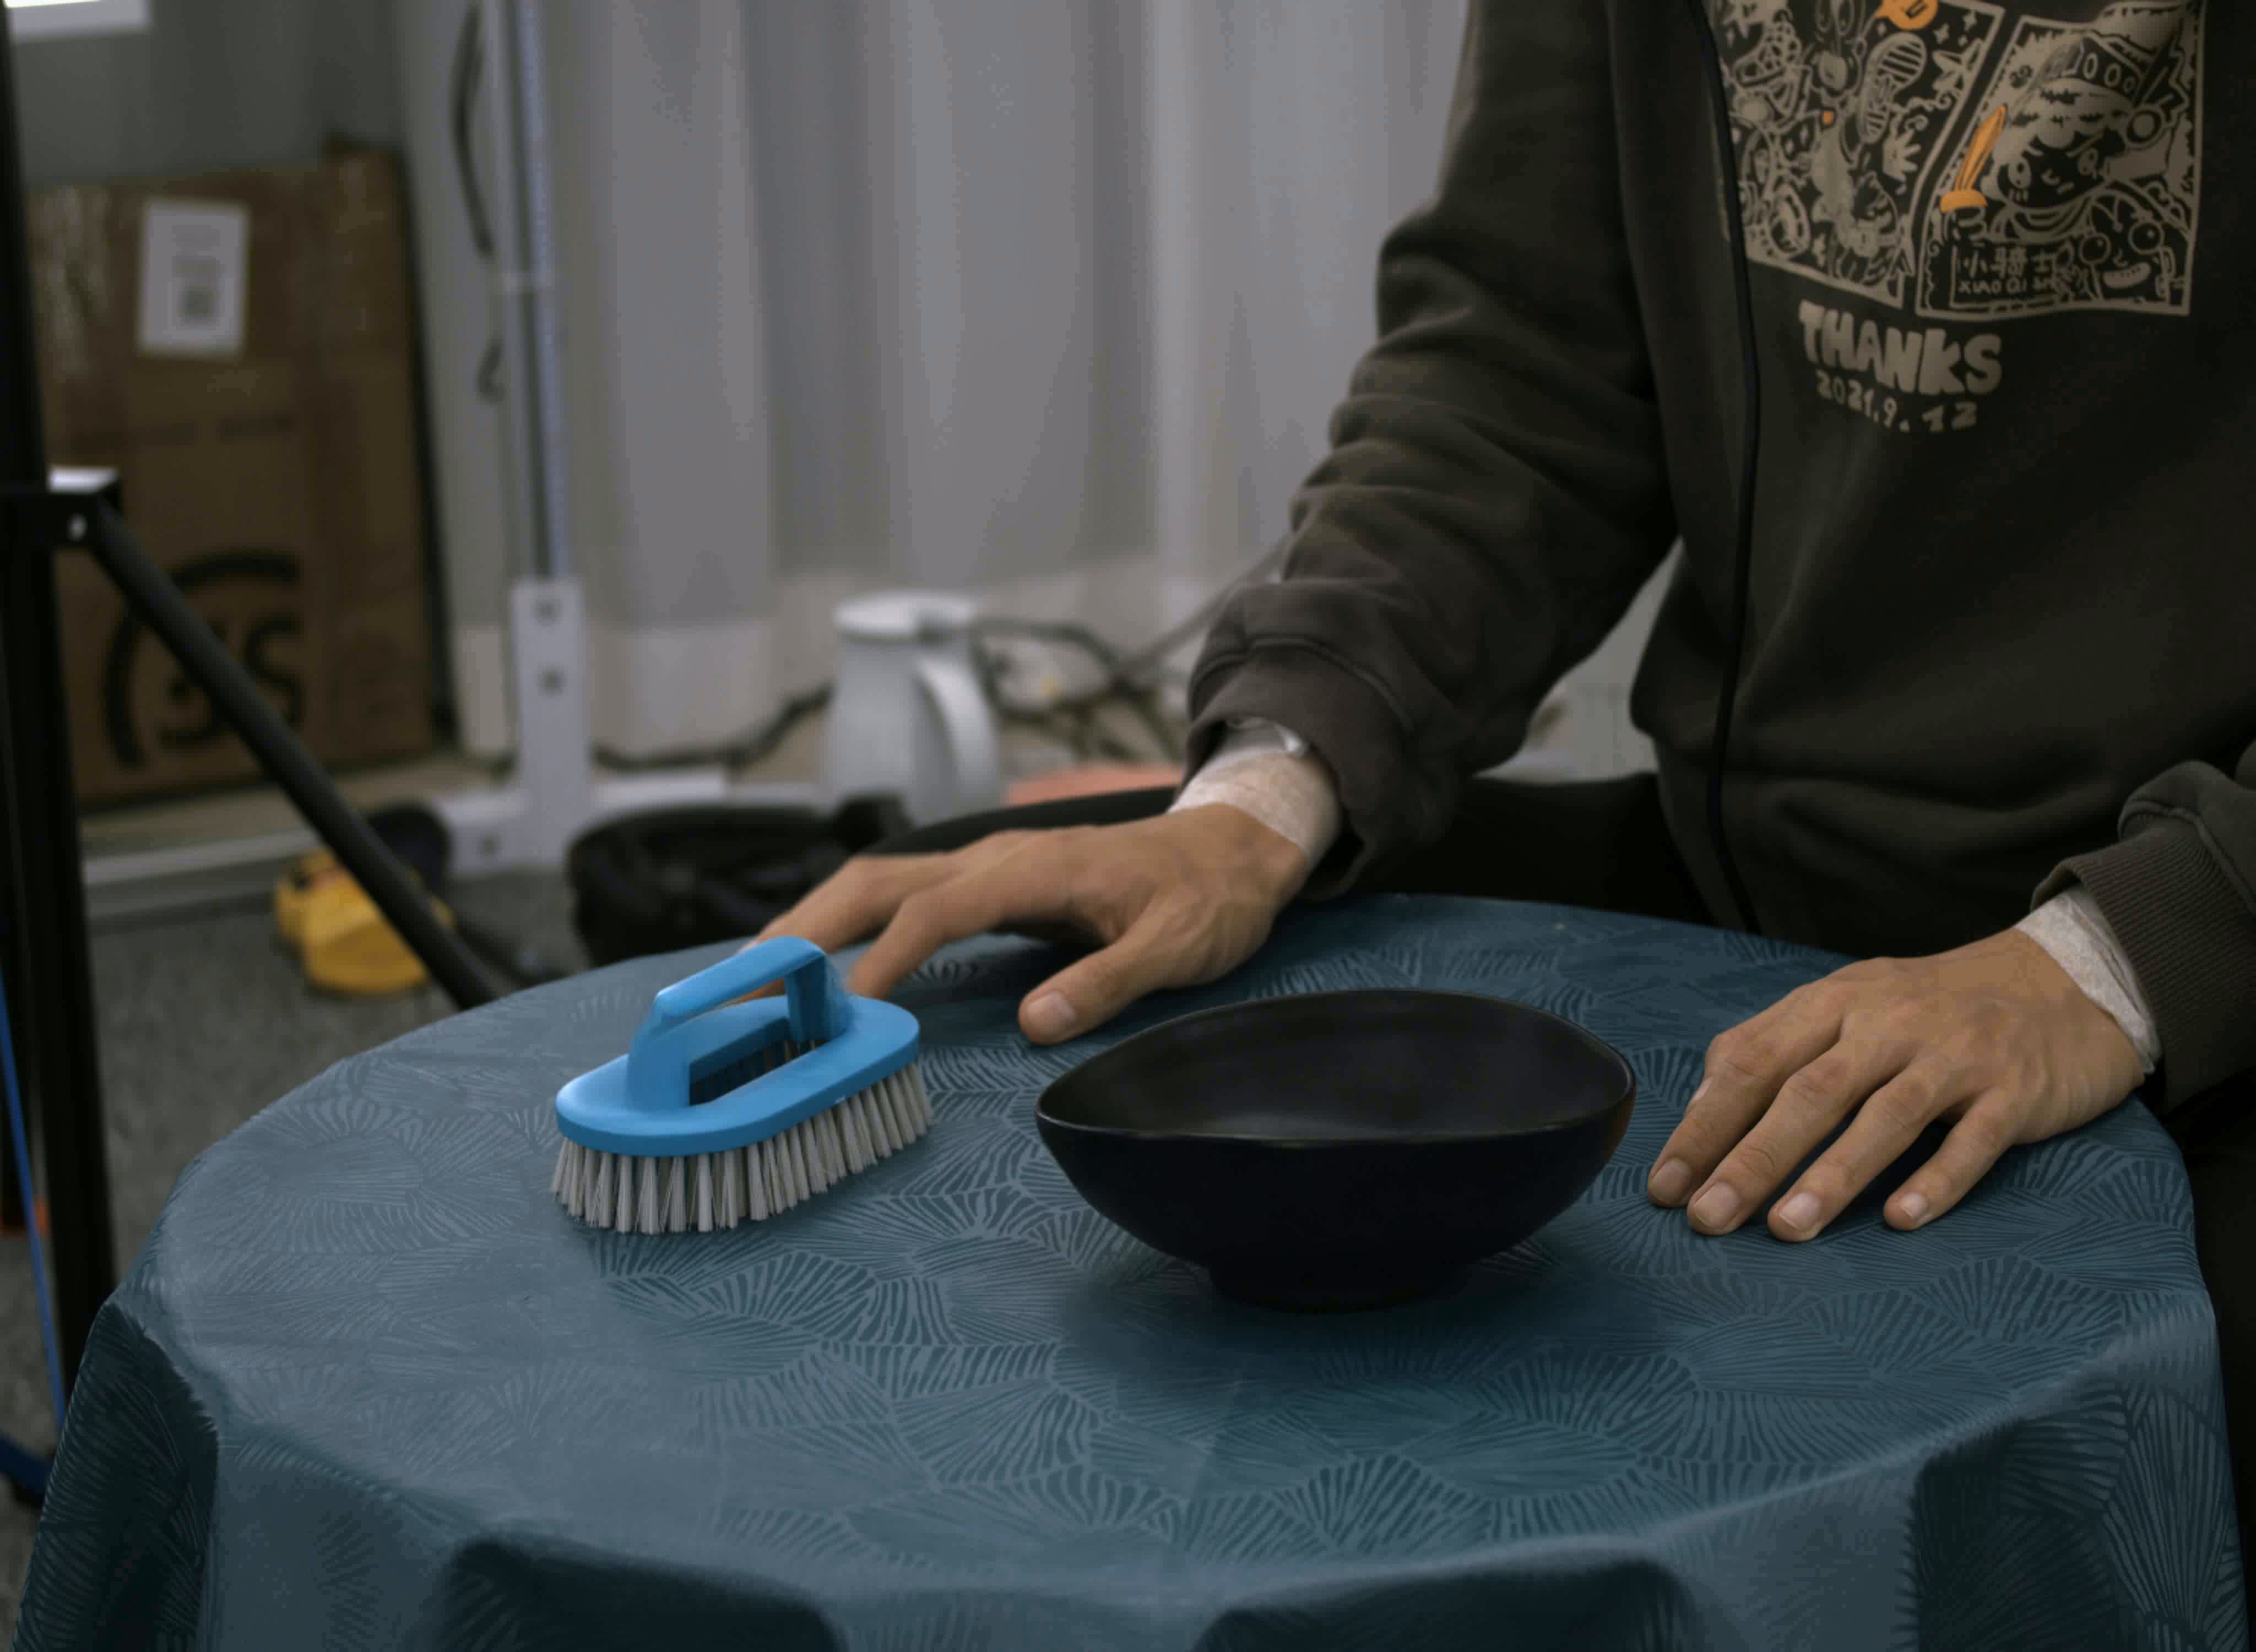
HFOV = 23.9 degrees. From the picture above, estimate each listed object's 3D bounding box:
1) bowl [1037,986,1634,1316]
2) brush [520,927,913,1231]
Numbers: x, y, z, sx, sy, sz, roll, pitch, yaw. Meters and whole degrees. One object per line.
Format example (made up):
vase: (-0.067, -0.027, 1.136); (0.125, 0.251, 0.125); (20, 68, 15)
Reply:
bowl: (0.058, 0.096, 1.480); (0.171, 0.067, 0.136); (0, 15, 14)
brush: (-0.120, 0.069, 1.600); (0.086, 0.064, 0.139); (13, 23, 32)
